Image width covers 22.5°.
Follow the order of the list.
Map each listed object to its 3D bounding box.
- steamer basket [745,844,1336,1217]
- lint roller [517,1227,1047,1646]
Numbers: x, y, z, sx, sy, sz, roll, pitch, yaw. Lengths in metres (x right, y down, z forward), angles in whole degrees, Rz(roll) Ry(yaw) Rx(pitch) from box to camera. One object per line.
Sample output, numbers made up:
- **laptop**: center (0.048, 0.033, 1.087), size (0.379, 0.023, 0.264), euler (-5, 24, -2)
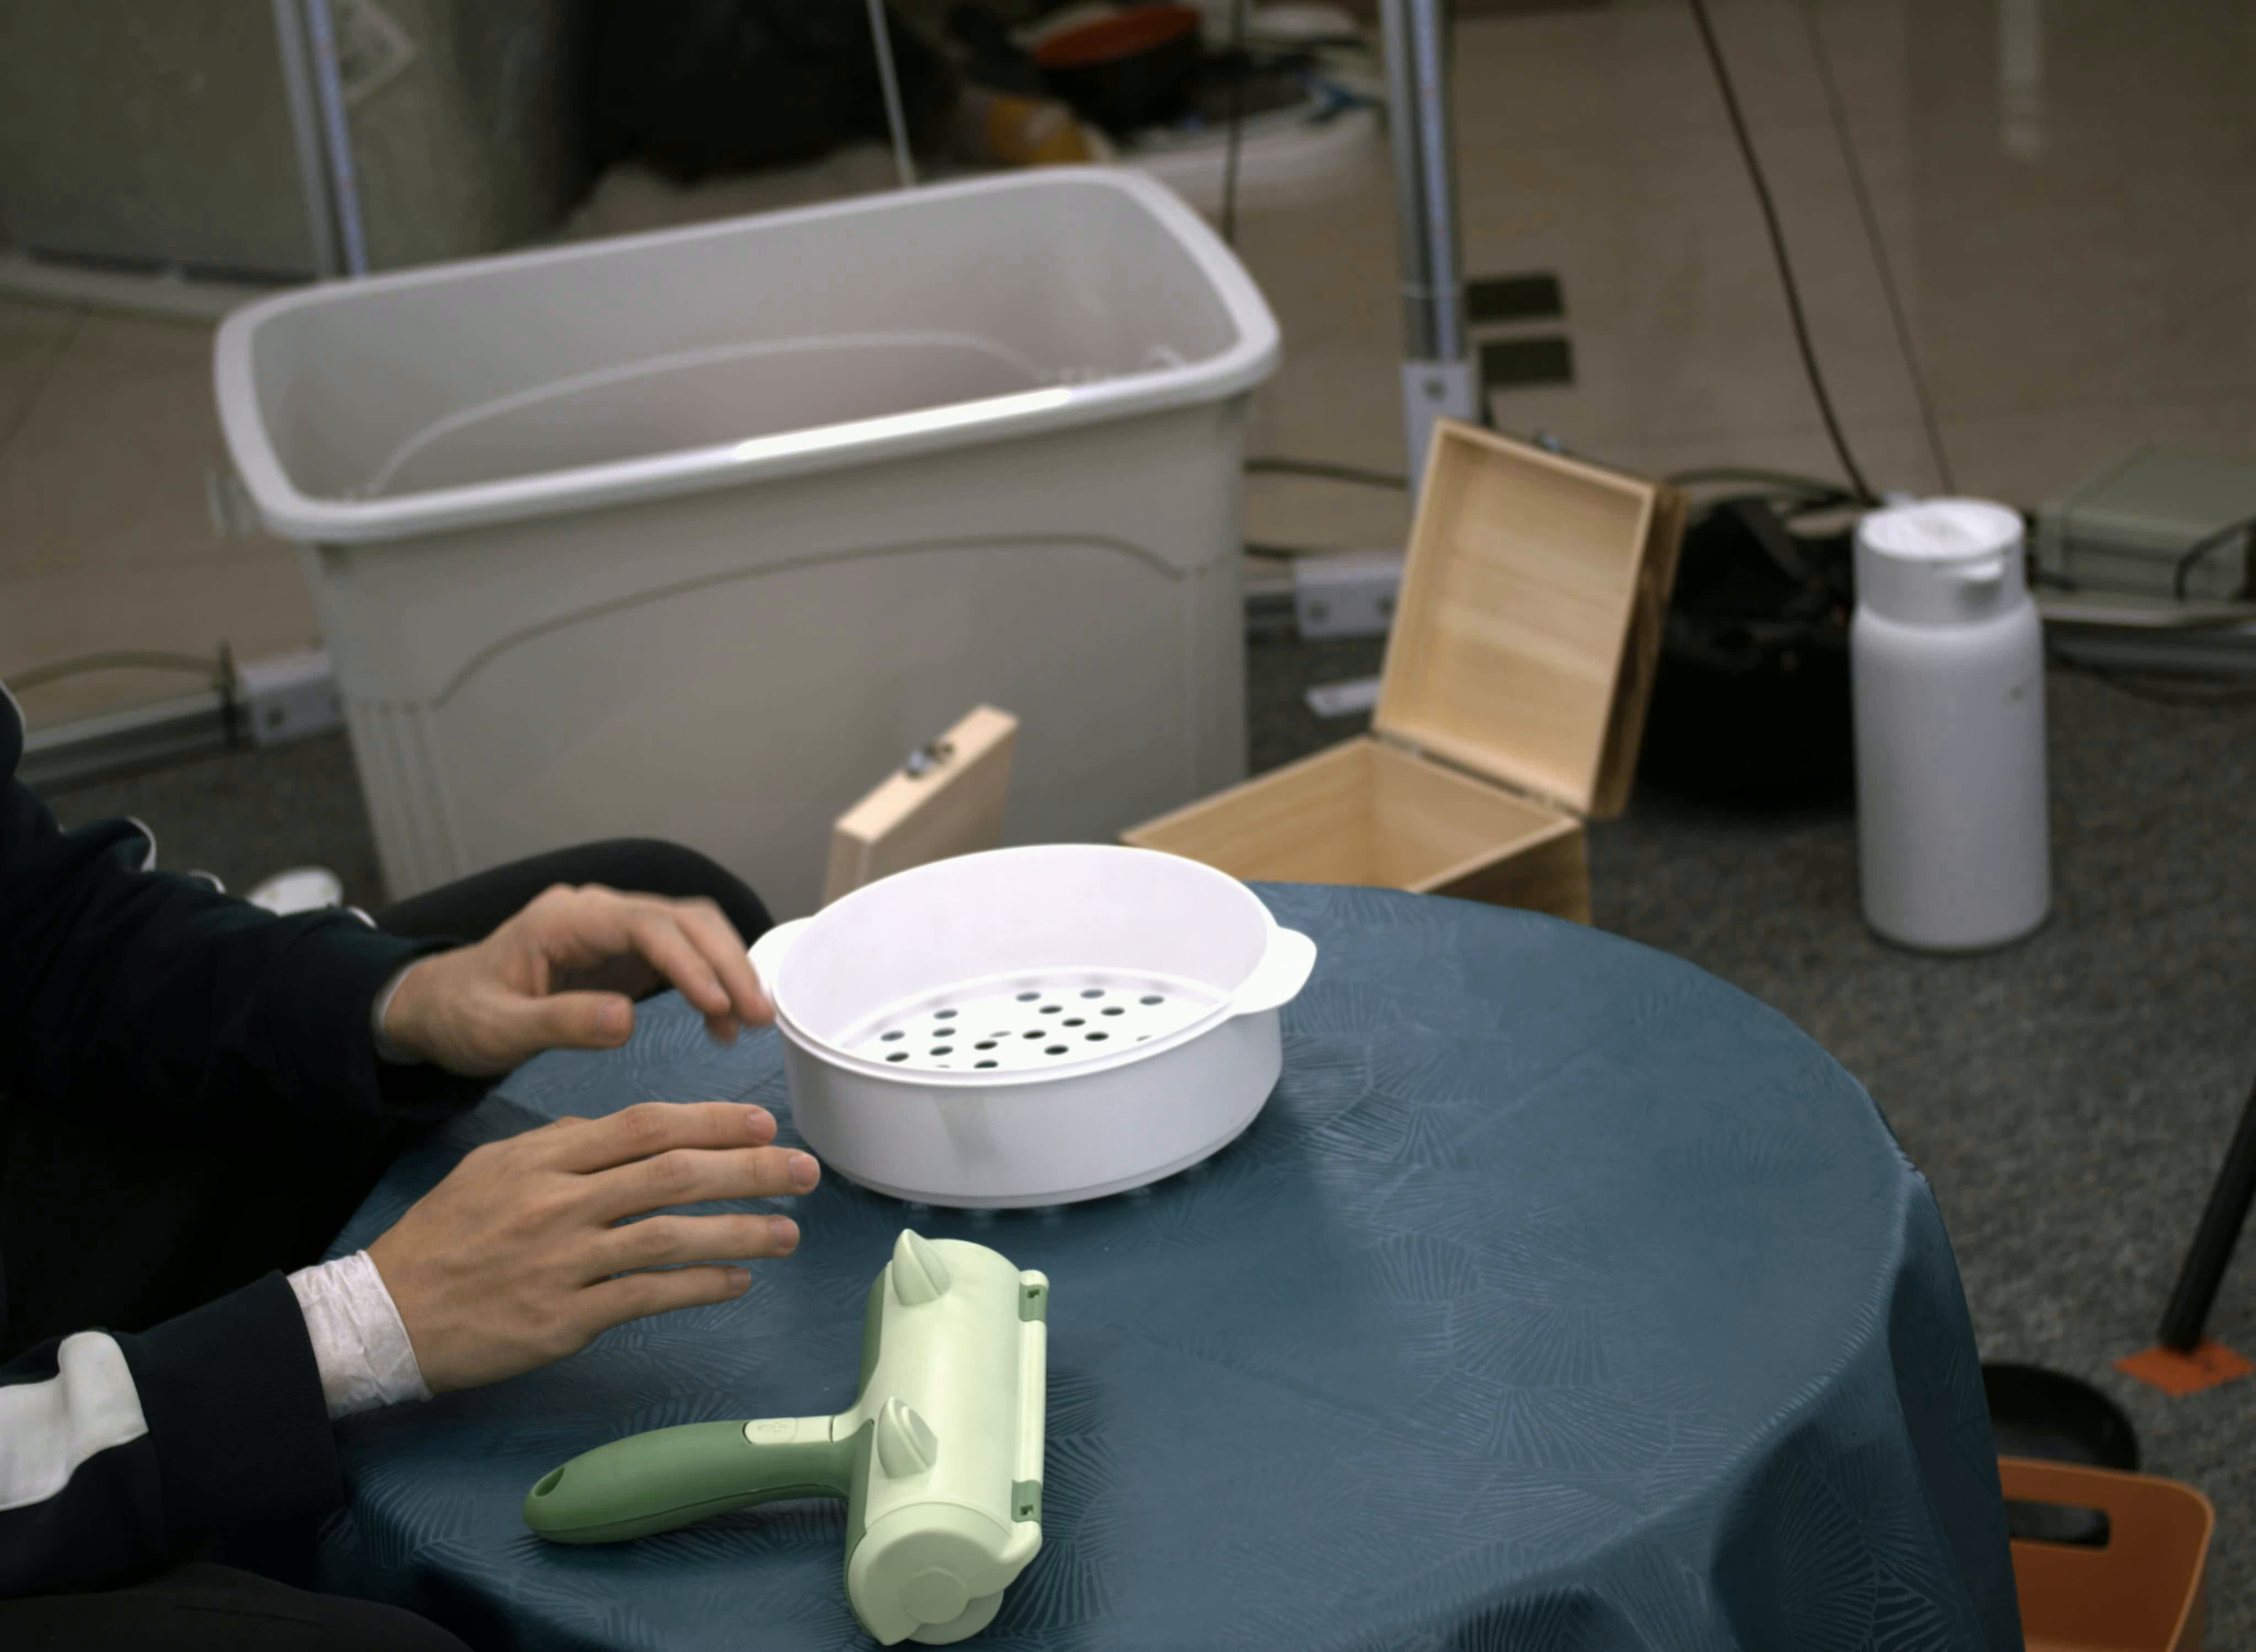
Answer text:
- **steamer basket**: center (-0.032, 0.079, 2.199), size (0.230, 0.070, 0.199), euler (2, 27, 14)
- **lint roller**: center (-0.120, 0.203, 1.943), size (0.183, 0.083, 0.195), euler (-1, 25, 1)
